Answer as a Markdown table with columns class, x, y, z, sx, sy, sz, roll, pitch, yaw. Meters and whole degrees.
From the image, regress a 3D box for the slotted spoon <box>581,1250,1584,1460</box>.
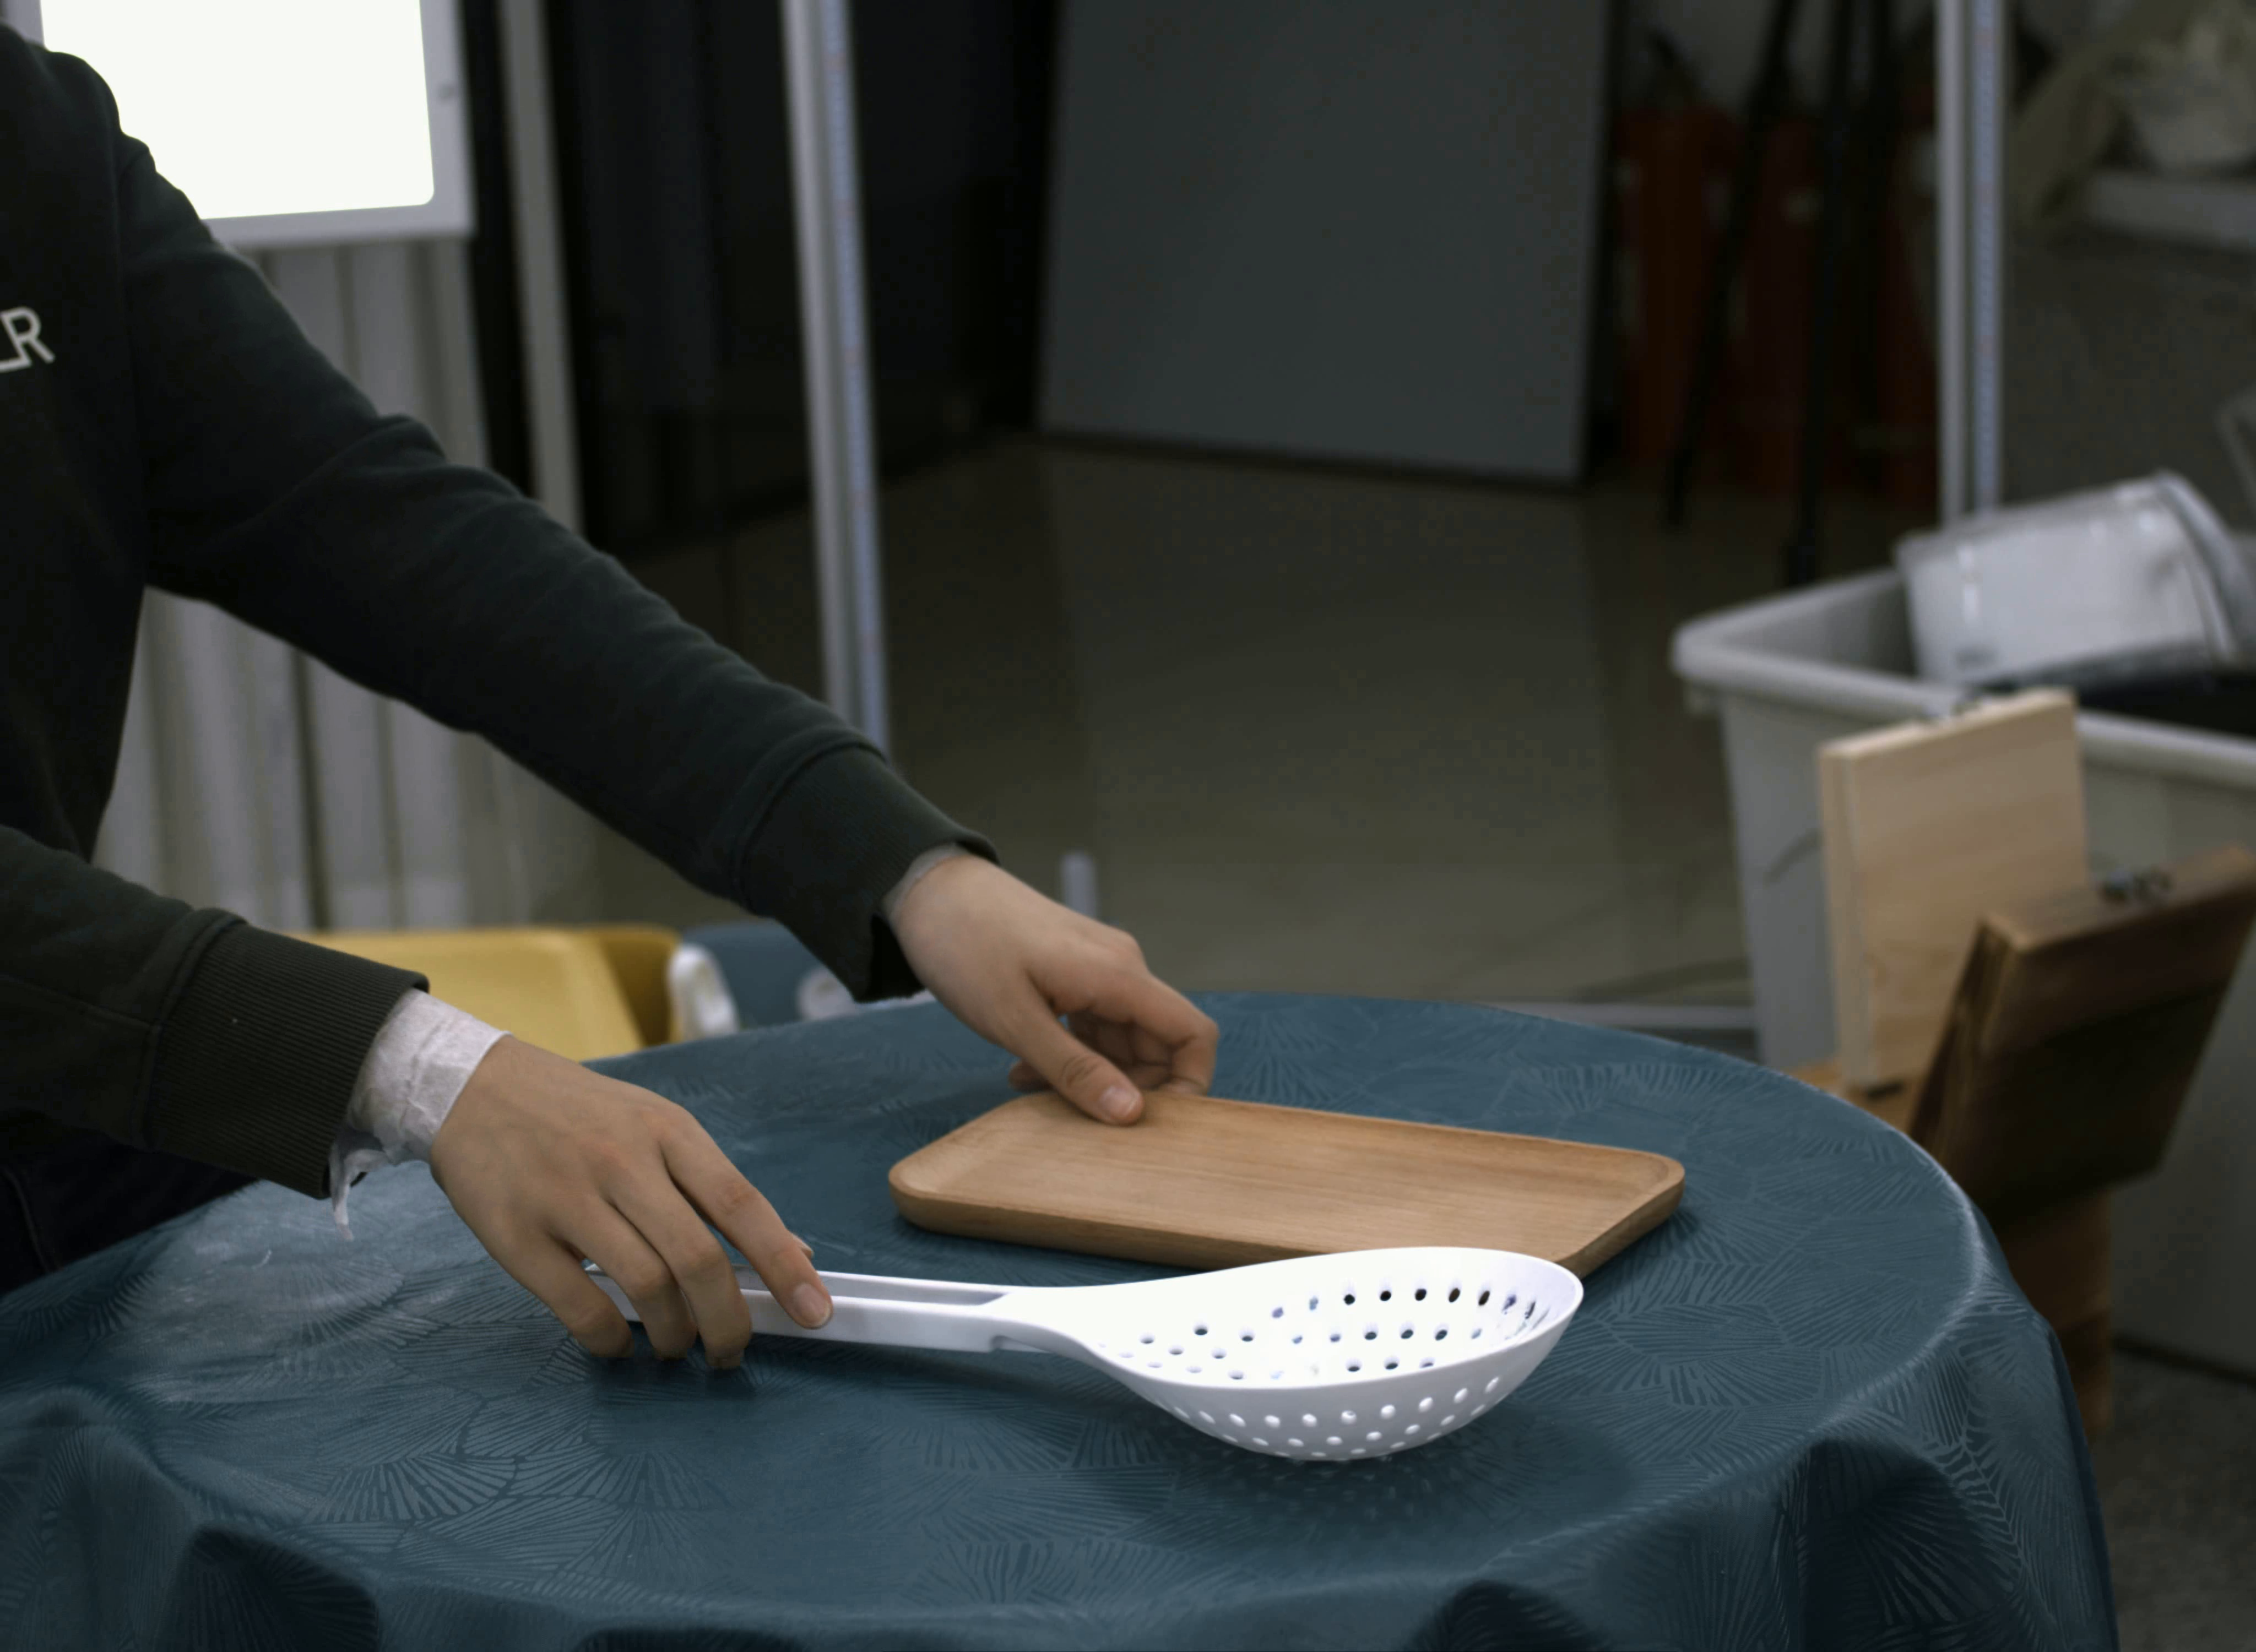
| class | x | y | z | sx | sy | sz | roll | pitch | yaw |
| --- | --- | --- | --- | --- | --- | --- | --- | --- | --- |
| slotted spoon | -0.024 | 0.145 | 1.586 | 0.352 | 0.046 | 0.133 | 5 | 14 | 36 |

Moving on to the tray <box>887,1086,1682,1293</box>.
| class | x | y | z | sx | sy | sz | roll | pitch | yaw |
| --- | --- | --- | --- | --- | --- | --- | --- | --- | --- |
| tray | 0.049 | 0.118 | 1.735 | 0.252 | 0.023 | 0.128 | 4 | 14 | 32 |
